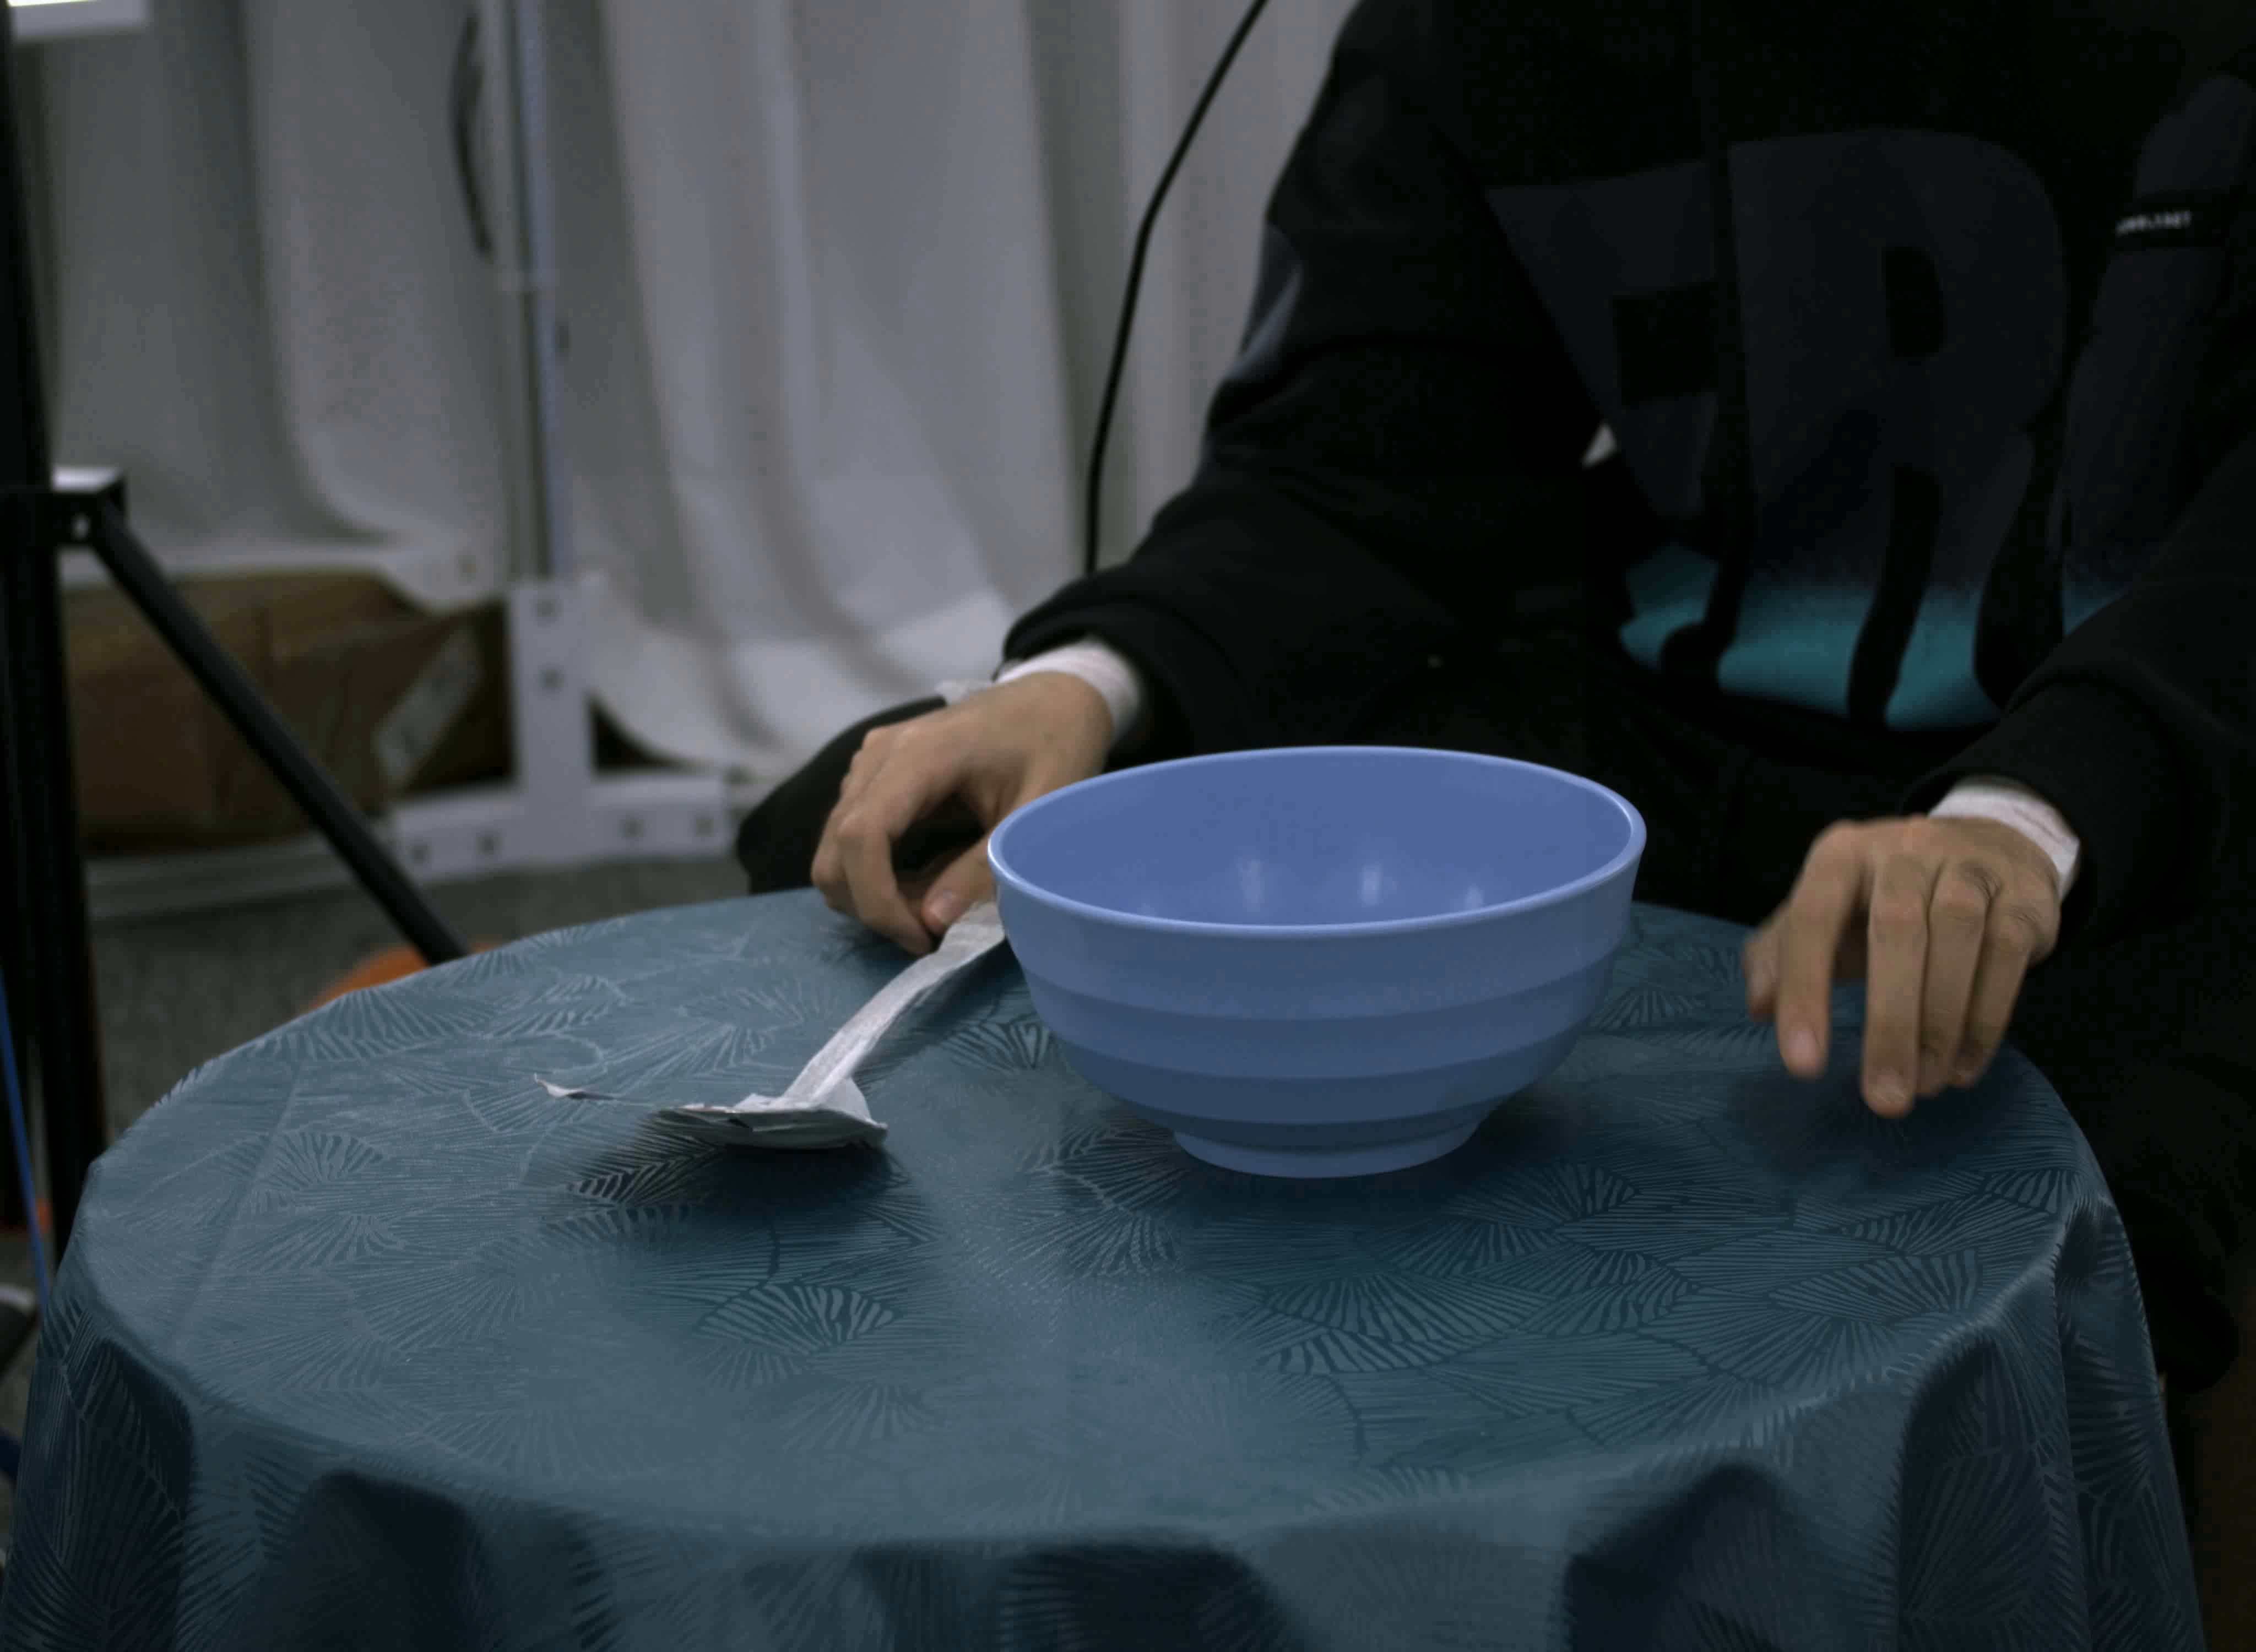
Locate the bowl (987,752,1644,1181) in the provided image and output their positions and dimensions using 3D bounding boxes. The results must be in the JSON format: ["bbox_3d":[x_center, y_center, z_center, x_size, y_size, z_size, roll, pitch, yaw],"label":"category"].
[{"bbox_3d":[0.058,0.047,1.592,0.195,0.095,0.197,-4,15,0],"label":"bowl"}]

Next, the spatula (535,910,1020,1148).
[{"bbox_3d":[-0.068,0.050,1.703,0.100,0.045,0.360,2,16,23],"label":"spatula"}]
